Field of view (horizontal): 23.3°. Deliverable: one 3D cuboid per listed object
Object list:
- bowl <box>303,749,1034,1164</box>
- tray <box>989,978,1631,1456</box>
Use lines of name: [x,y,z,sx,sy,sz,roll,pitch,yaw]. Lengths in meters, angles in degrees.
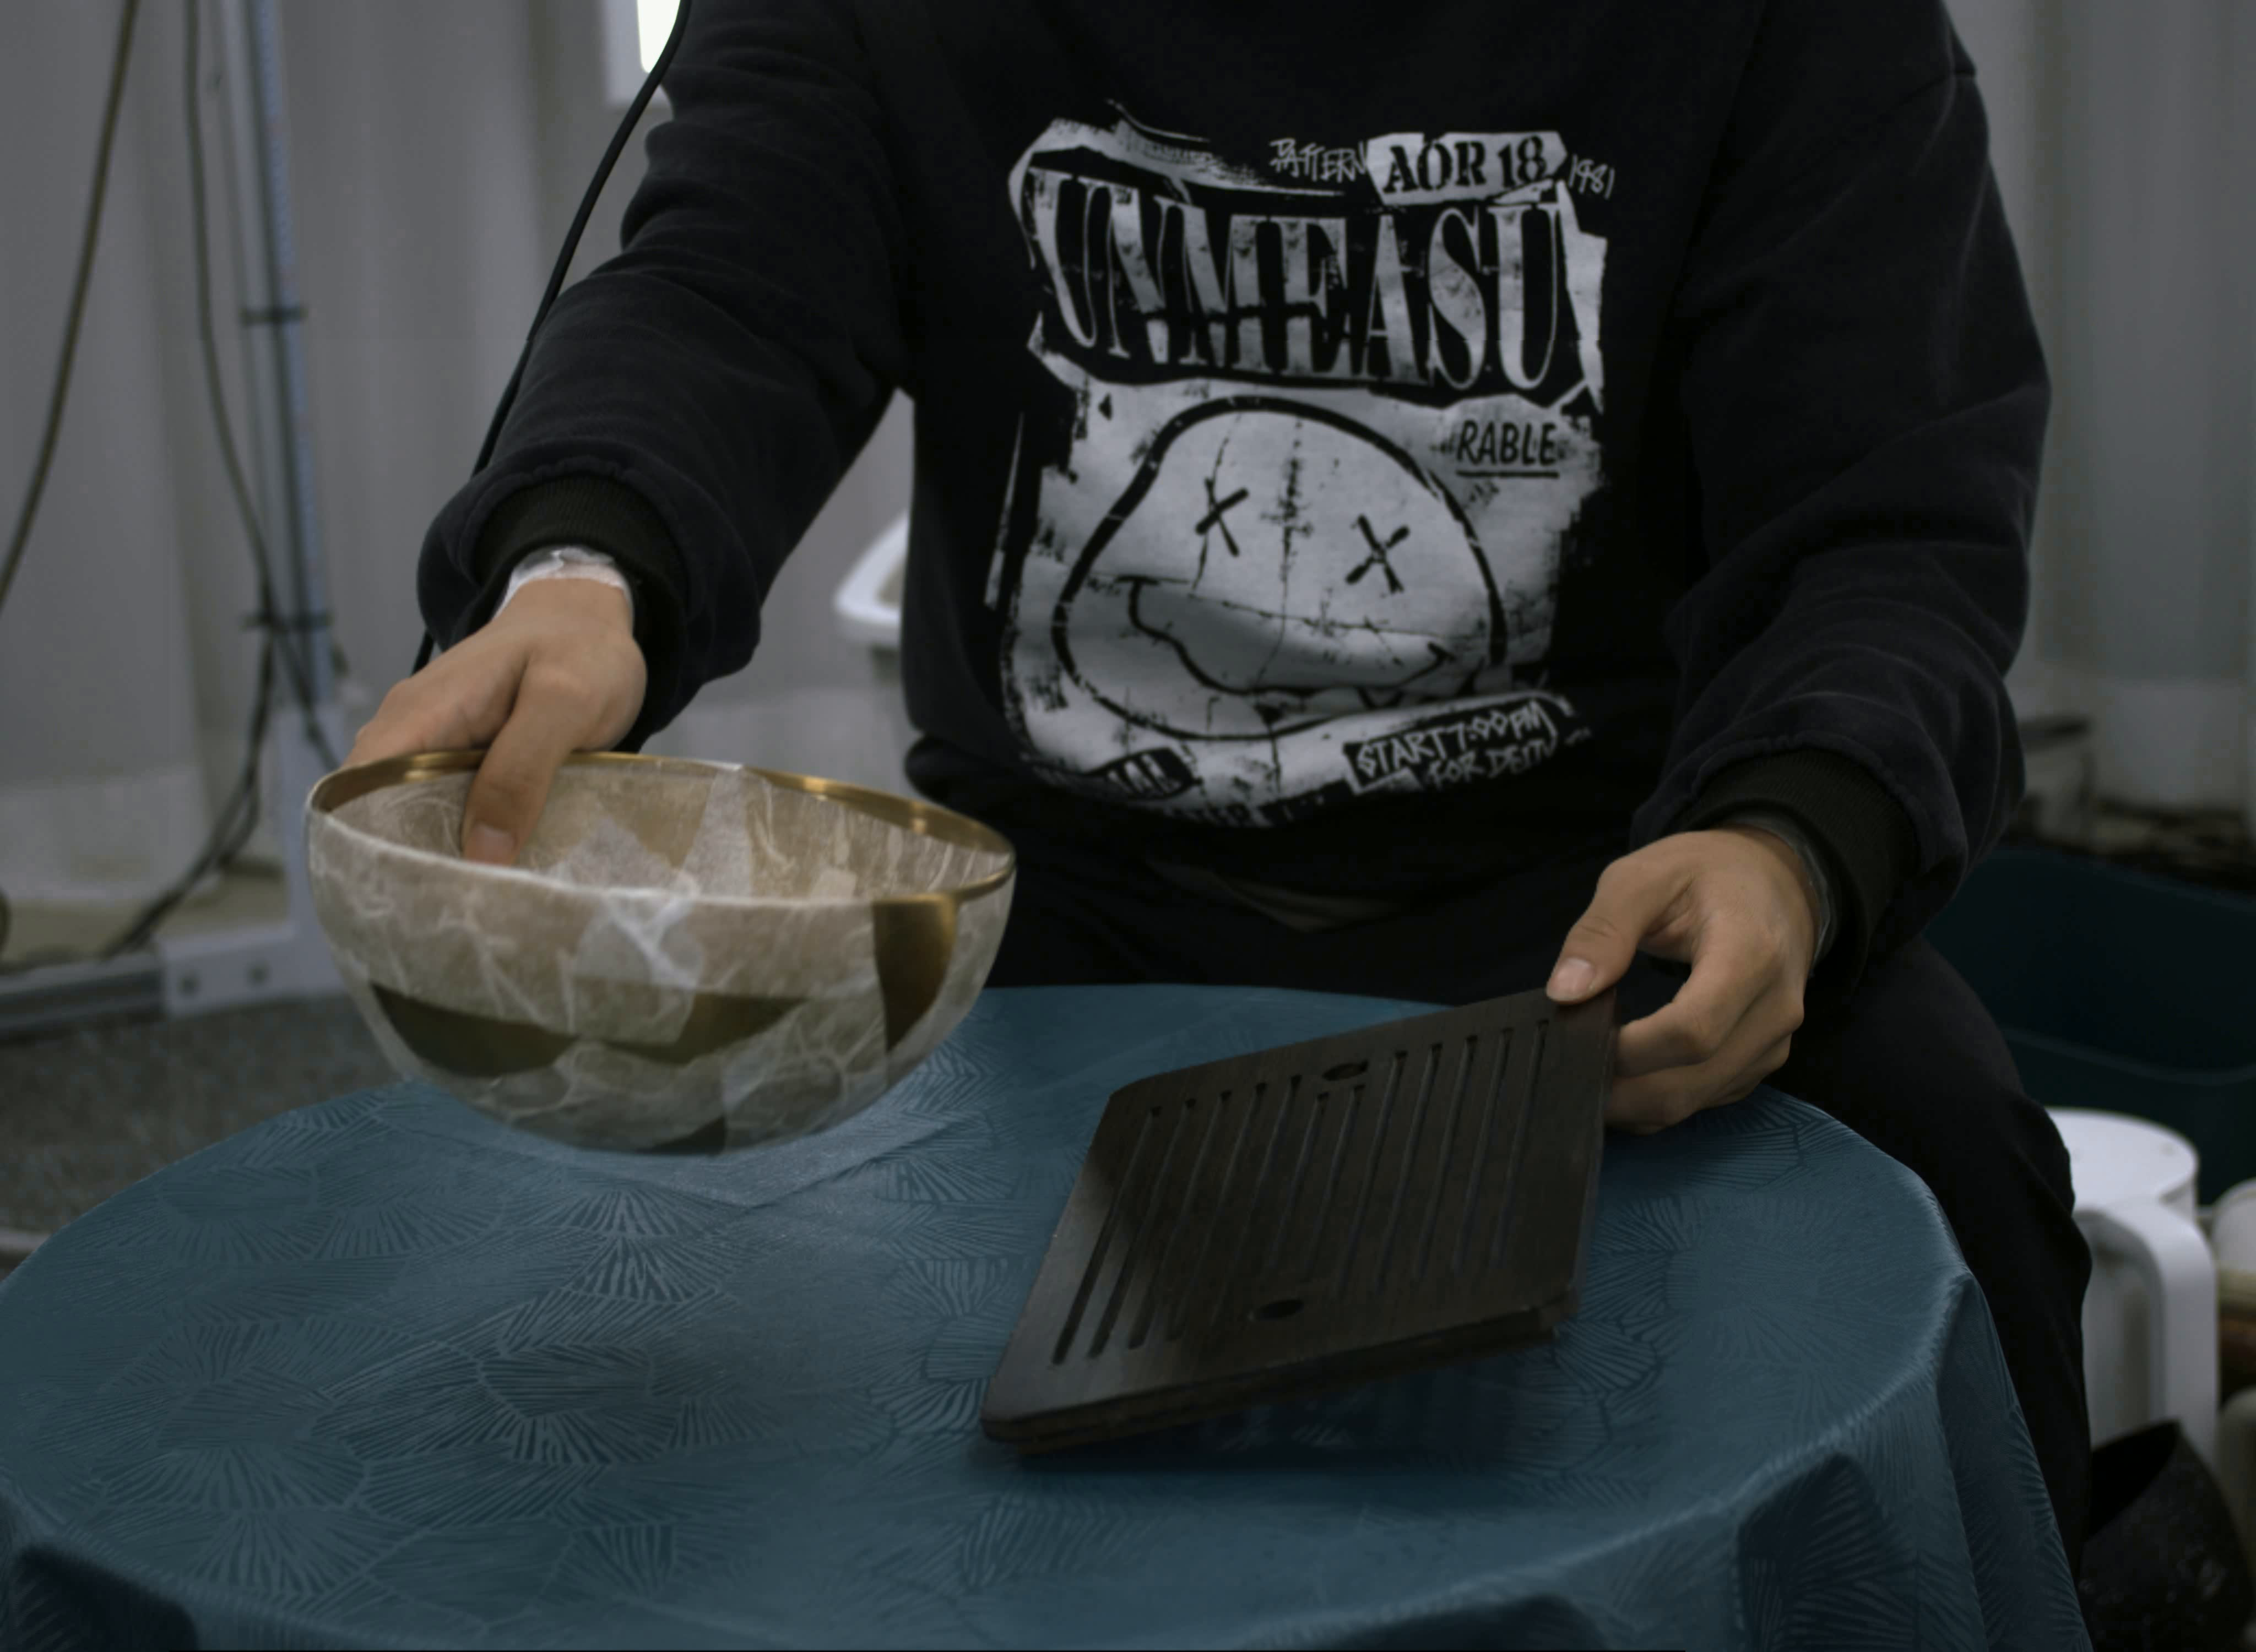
bowl: [-0.132,0.043,1.545,0.214,0.094,0.216,5,10,-1]
tray: [0.062,0.112,1.613,0.170,0.018,0.307,-13,13,11]
